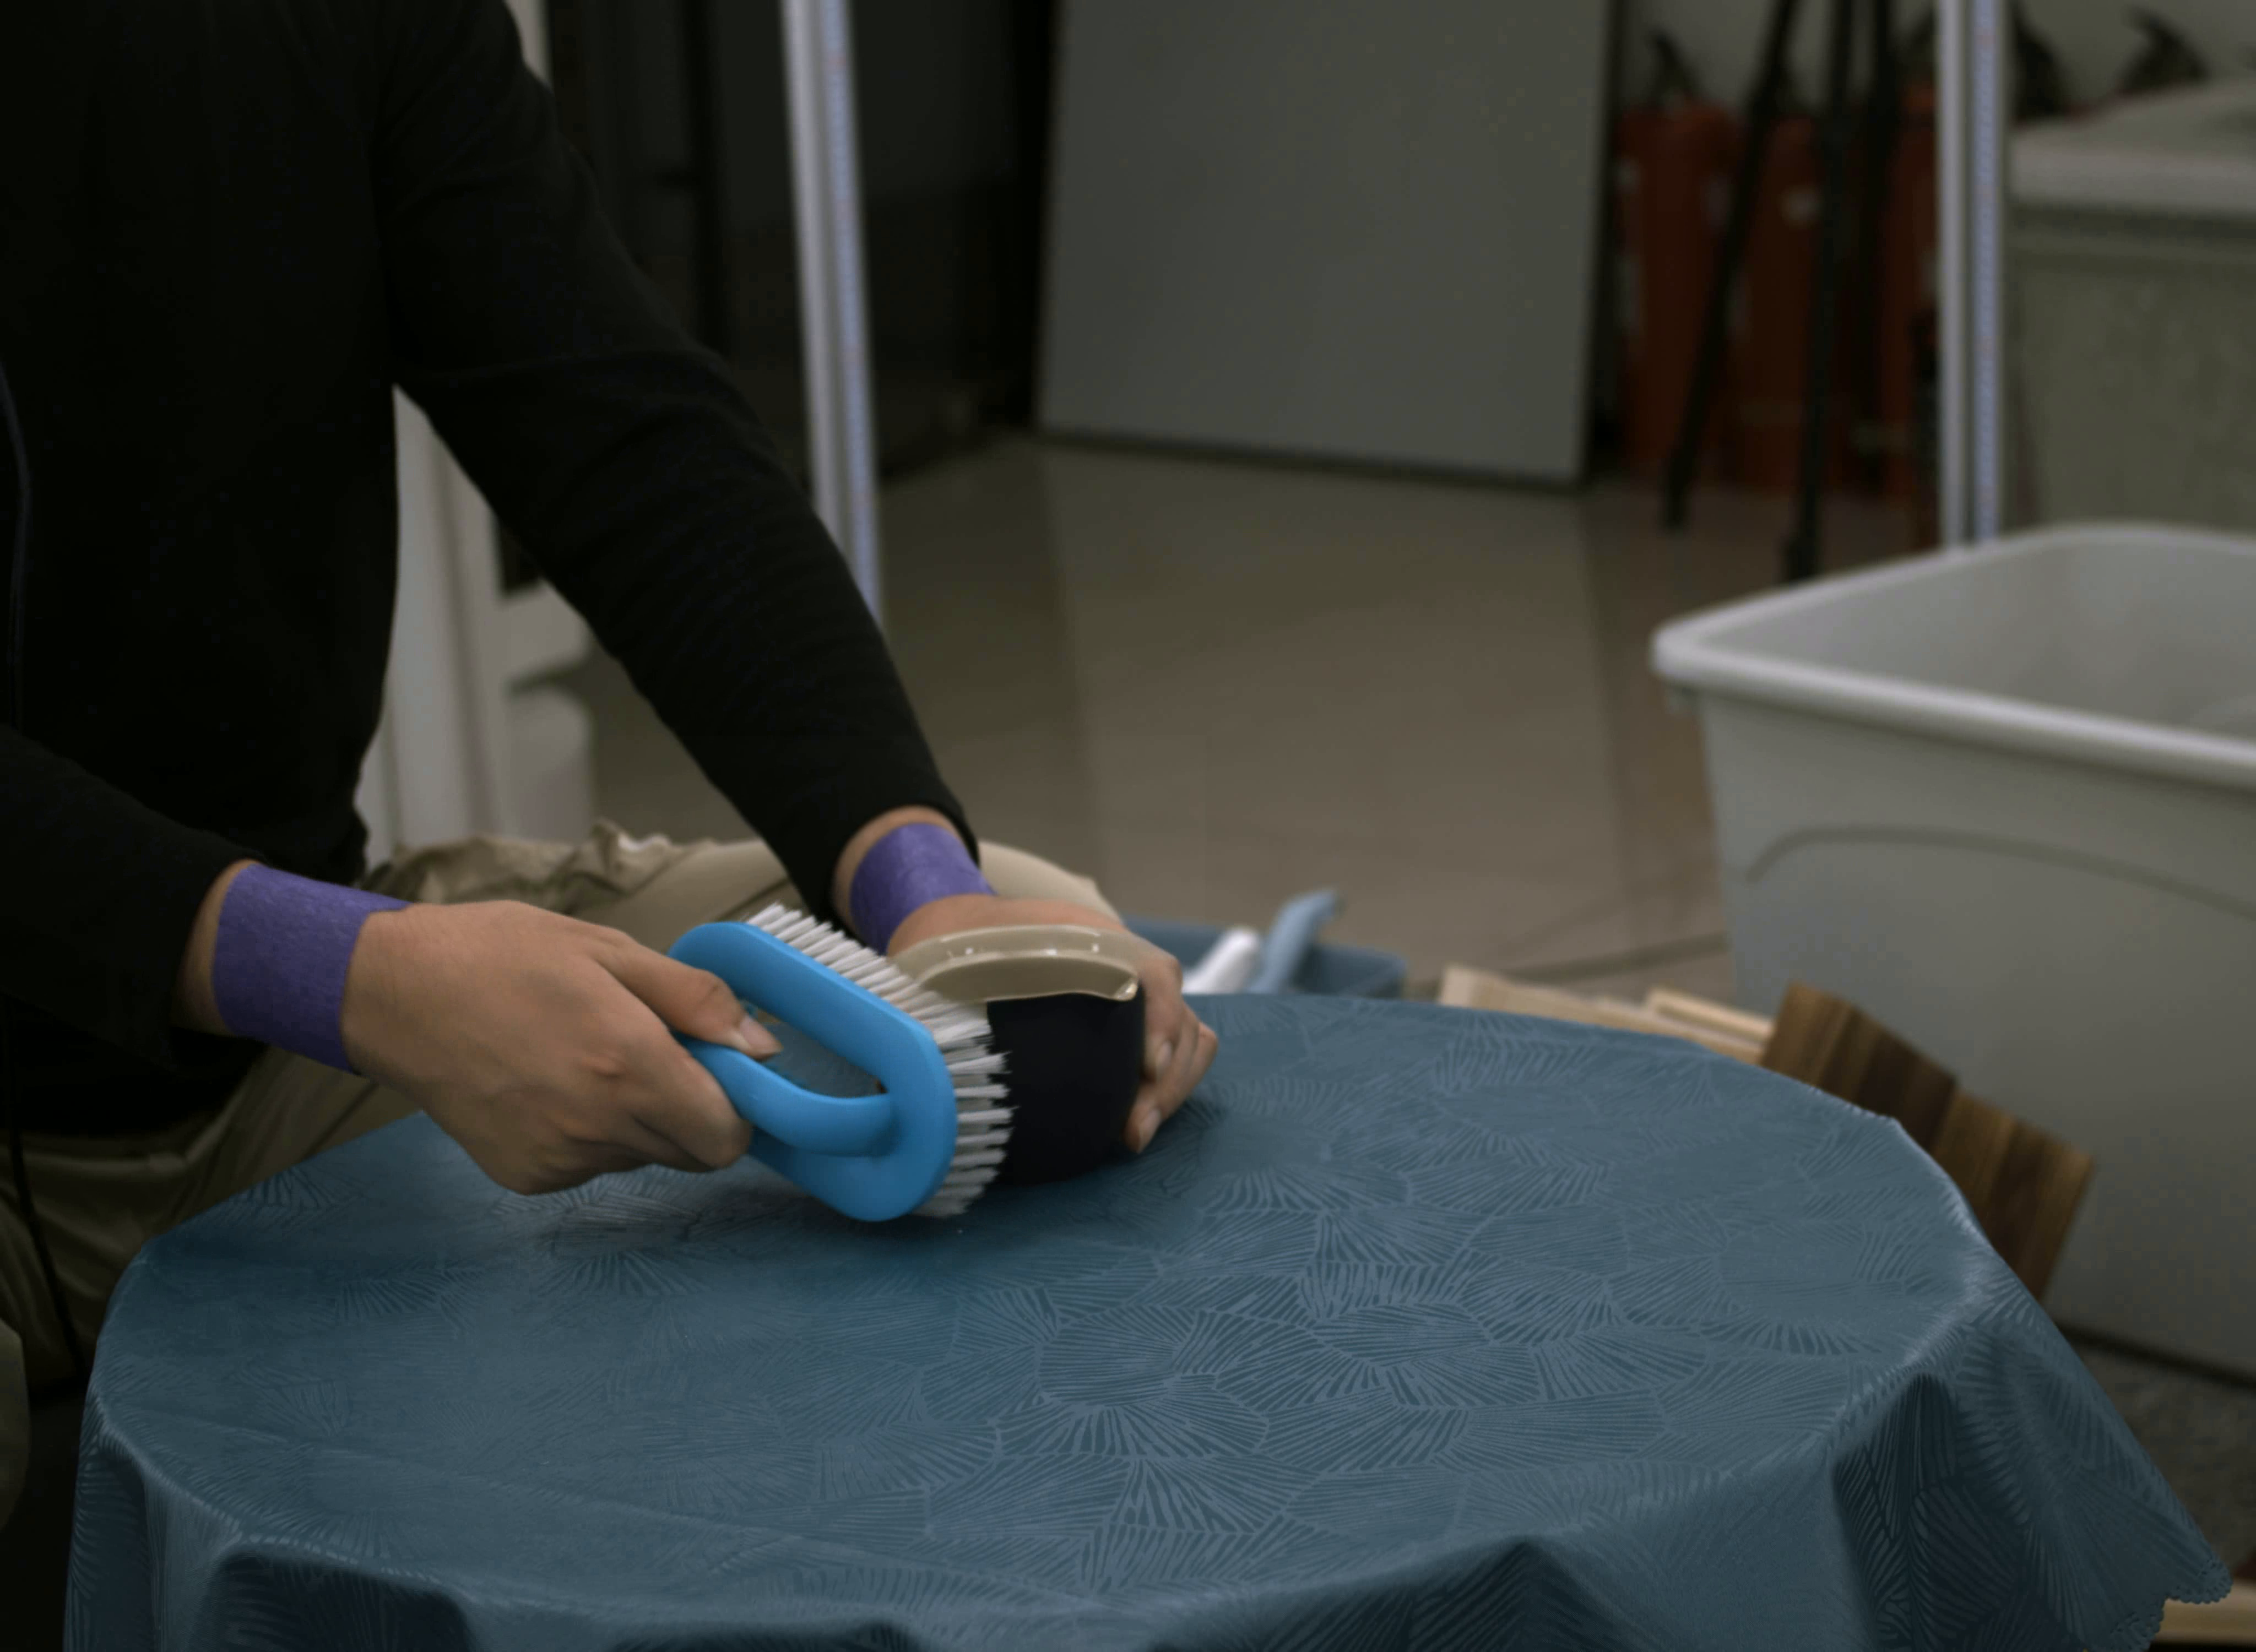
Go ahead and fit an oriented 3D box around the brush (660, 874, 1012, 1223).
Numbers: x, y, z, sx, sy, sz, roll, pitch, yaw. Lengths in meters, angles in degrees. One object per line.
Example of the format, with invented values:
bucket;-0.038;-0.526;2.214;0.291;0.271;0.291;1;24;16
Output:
brush;-0.106;0.076;1.753;0.062;0.085;0.143;-14;35;-44

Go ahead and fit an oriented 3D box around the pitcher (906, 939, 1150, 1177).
pitcher;-0.031;0.077;1.797;0.082;0.072;0.097;-9;16;-33
